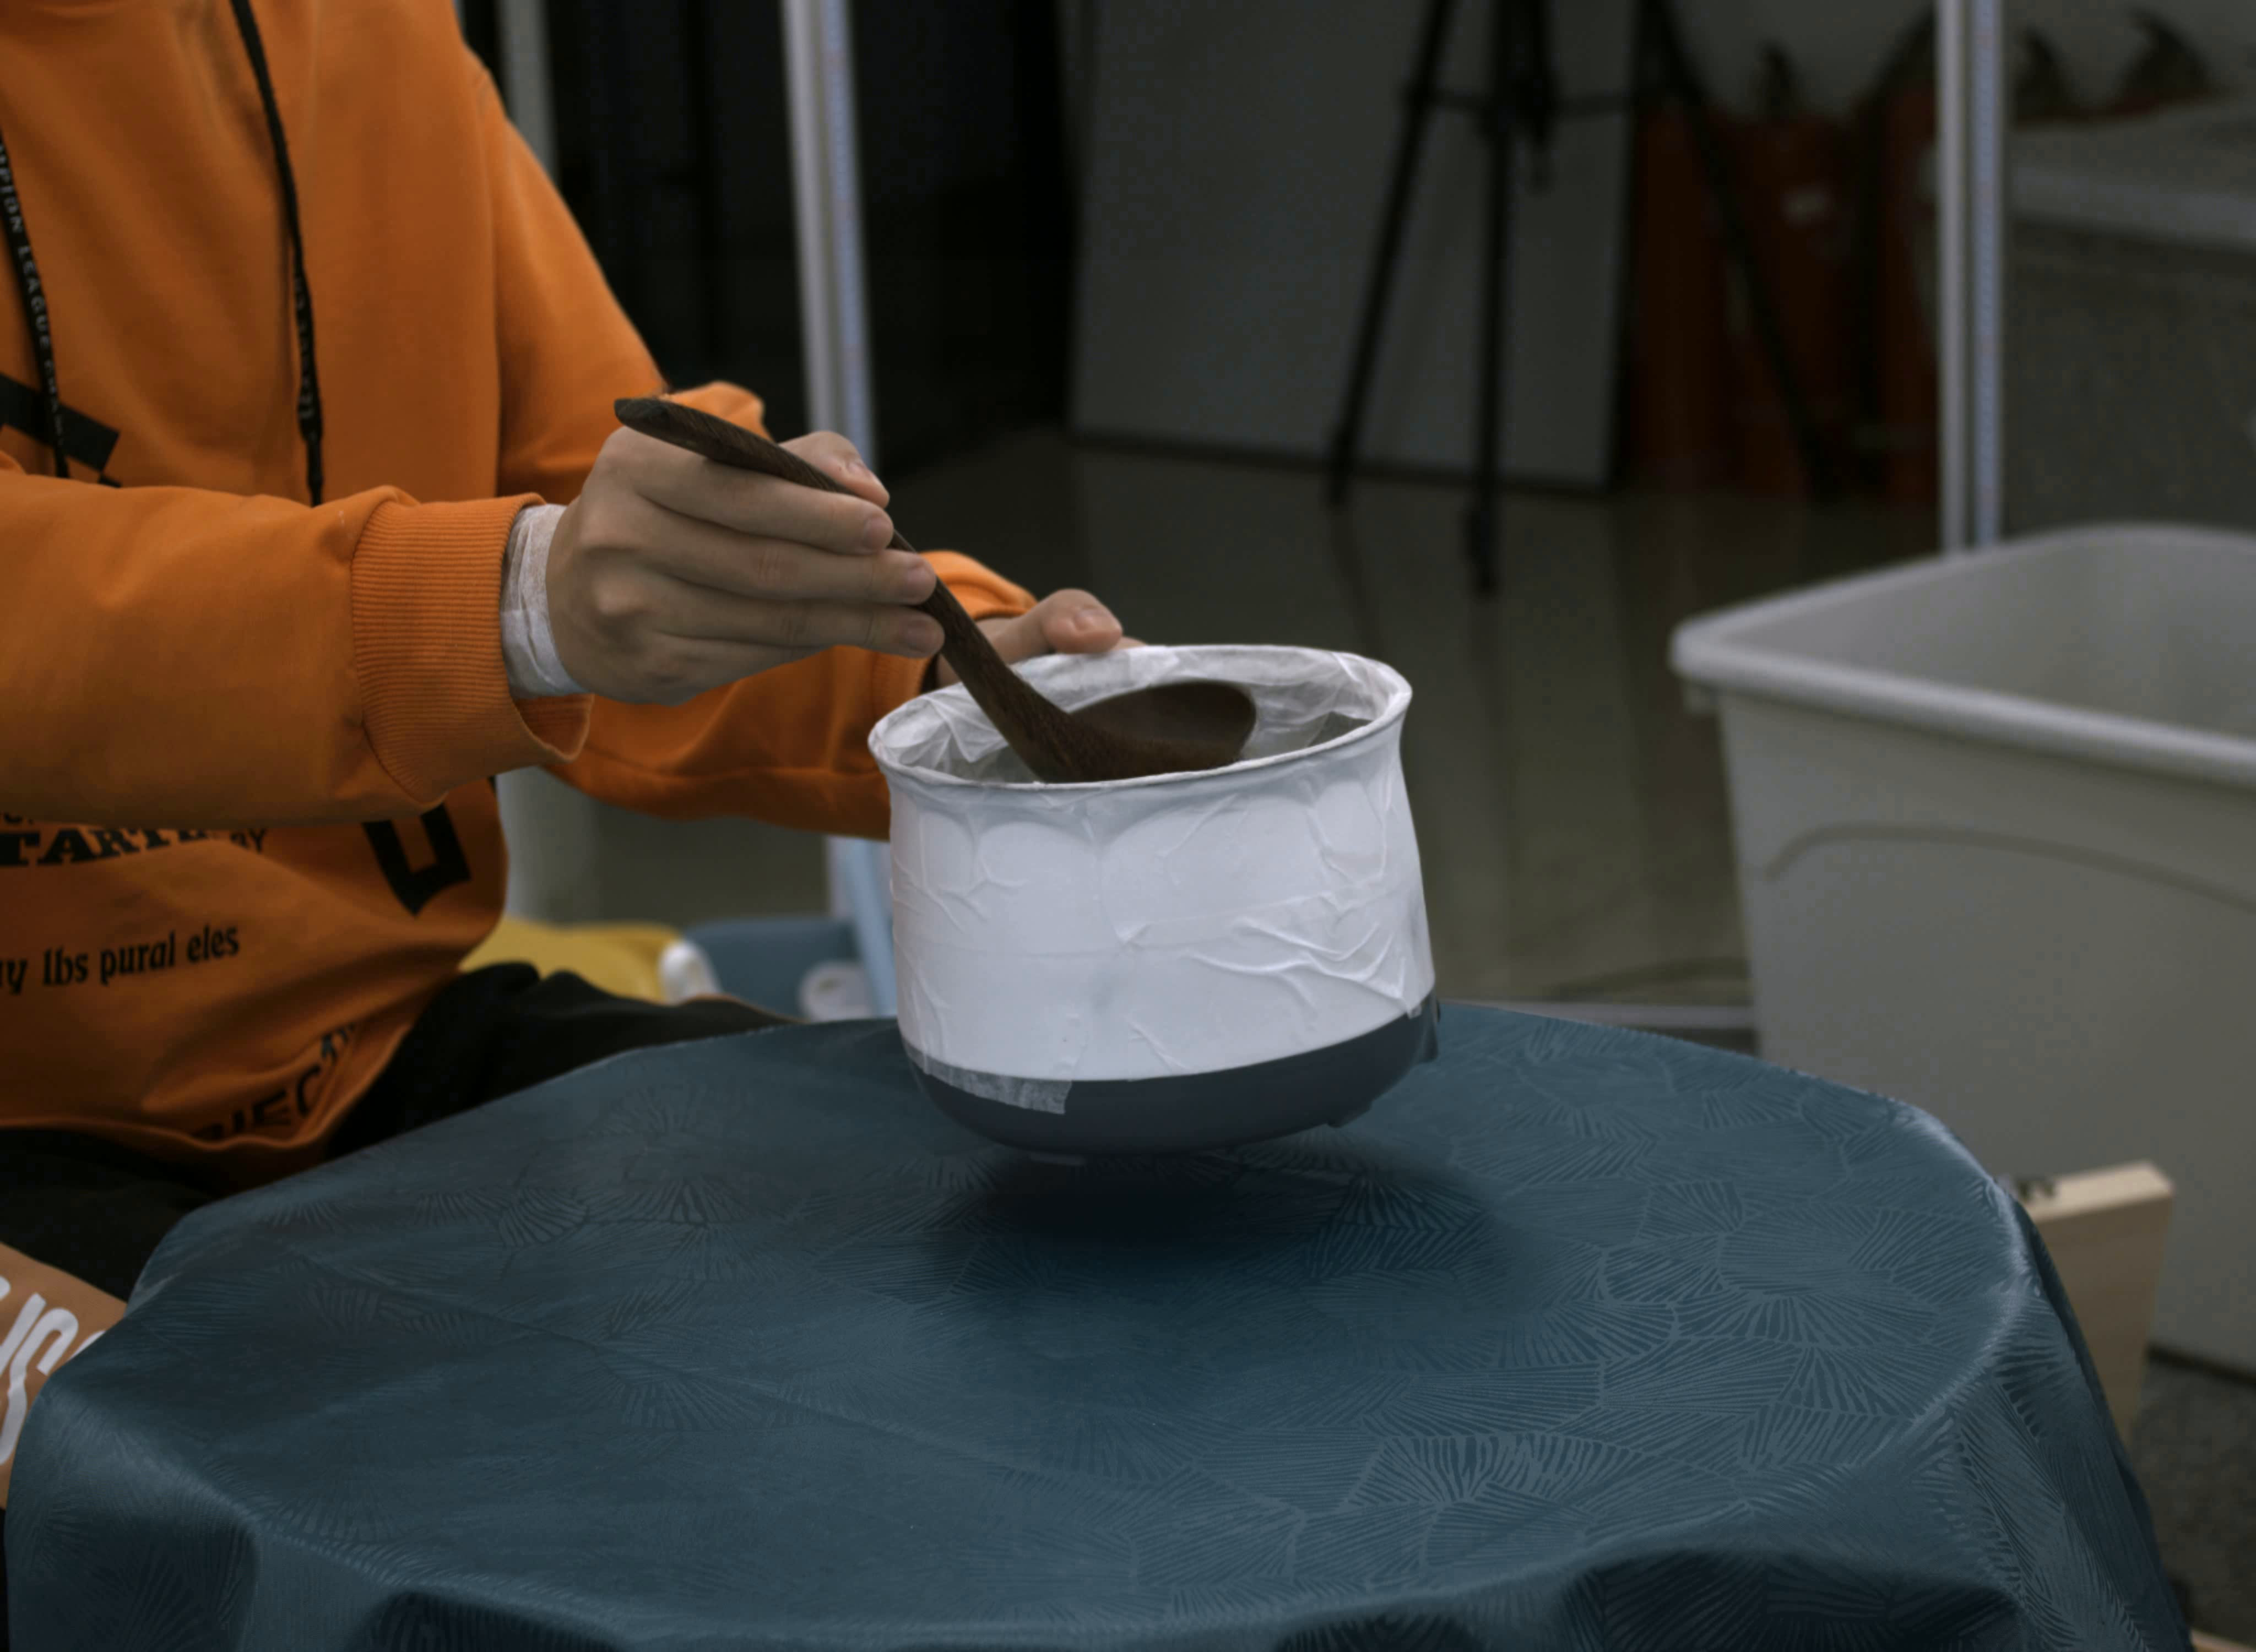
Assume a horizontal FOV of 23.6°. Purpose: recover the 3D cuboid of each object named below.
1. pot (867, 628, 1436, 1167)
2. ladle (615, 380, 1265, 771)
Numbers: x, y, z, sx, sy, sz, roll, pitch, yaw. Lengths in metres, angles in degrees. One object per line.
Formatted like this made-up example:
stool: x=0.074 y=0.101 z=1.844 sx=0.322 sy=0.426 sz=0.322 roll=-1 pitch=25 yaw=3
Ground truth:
pot: x=0.003 y=0.017 z=1.768 sx=0.175 sy=0.138 sz=0.235 roll=-8 pitch=14 yaw=-10
ladle: x=-0.054 y=-0.086 z=1.671 sx=0.076 sy=0.071 sz=0.270 roll=1 pitch=-31 yaw=43
